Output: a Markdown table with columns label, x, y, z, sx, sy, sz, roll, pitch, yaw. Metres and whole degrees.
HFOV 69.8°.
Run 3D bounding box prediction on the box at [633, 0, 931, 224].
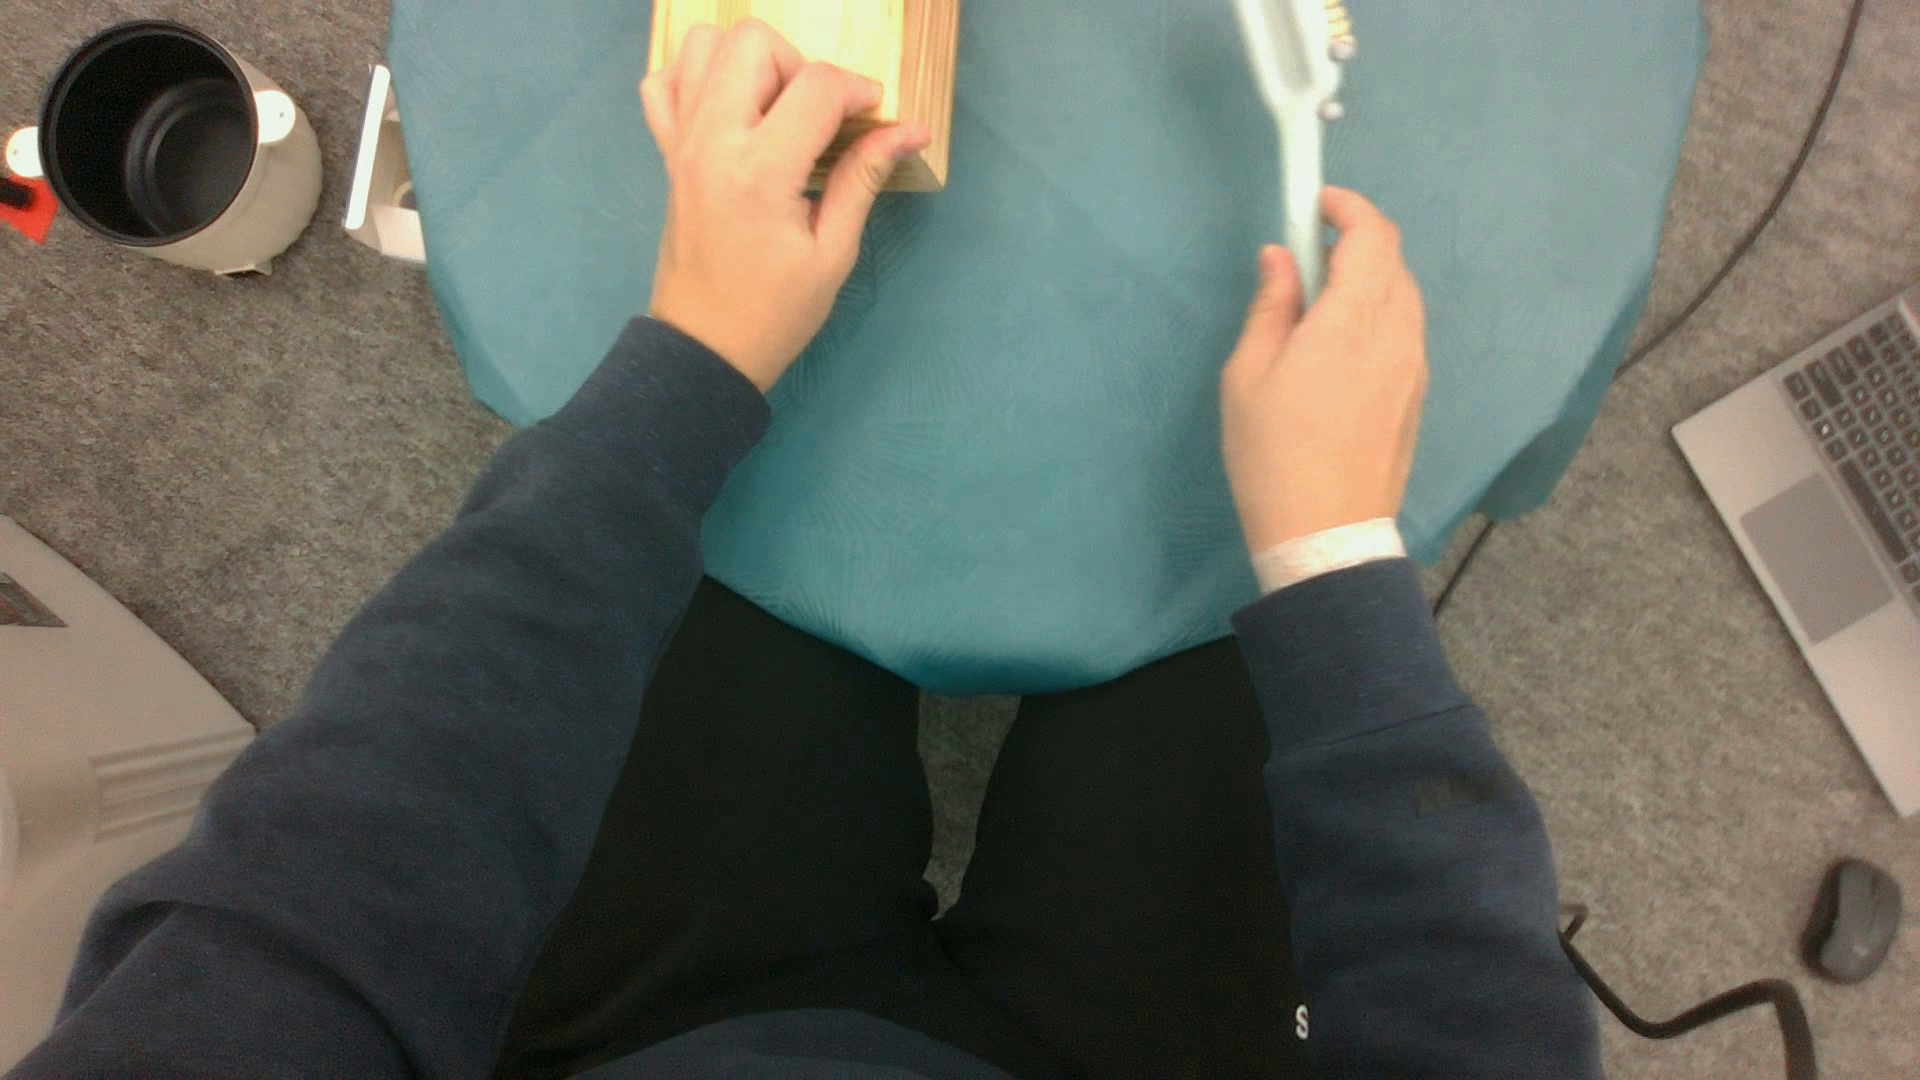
| label | x | y | z | sx | sy | sz | roll | pitch | yaw |
| --- | --- | --- | --- | --- | --- | --- | --- | --- | --- |
| box | -0.072 | -0.255 | 0.608 | 0.107 | 0.080 | 0.211 | 1 | 84 | 13 |

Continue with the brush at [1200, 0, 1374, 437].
| label | x | y | z | sx | sy | sz | roll | pitch | yaw |
| --- | --- | --- | --- | --- | --- | --- | --- | --- | --- |
| brush | 0.145 | -0.156 | 0.587 | 0.037 | 0.050 | 0.228 | -11 | 96 | 47 |
